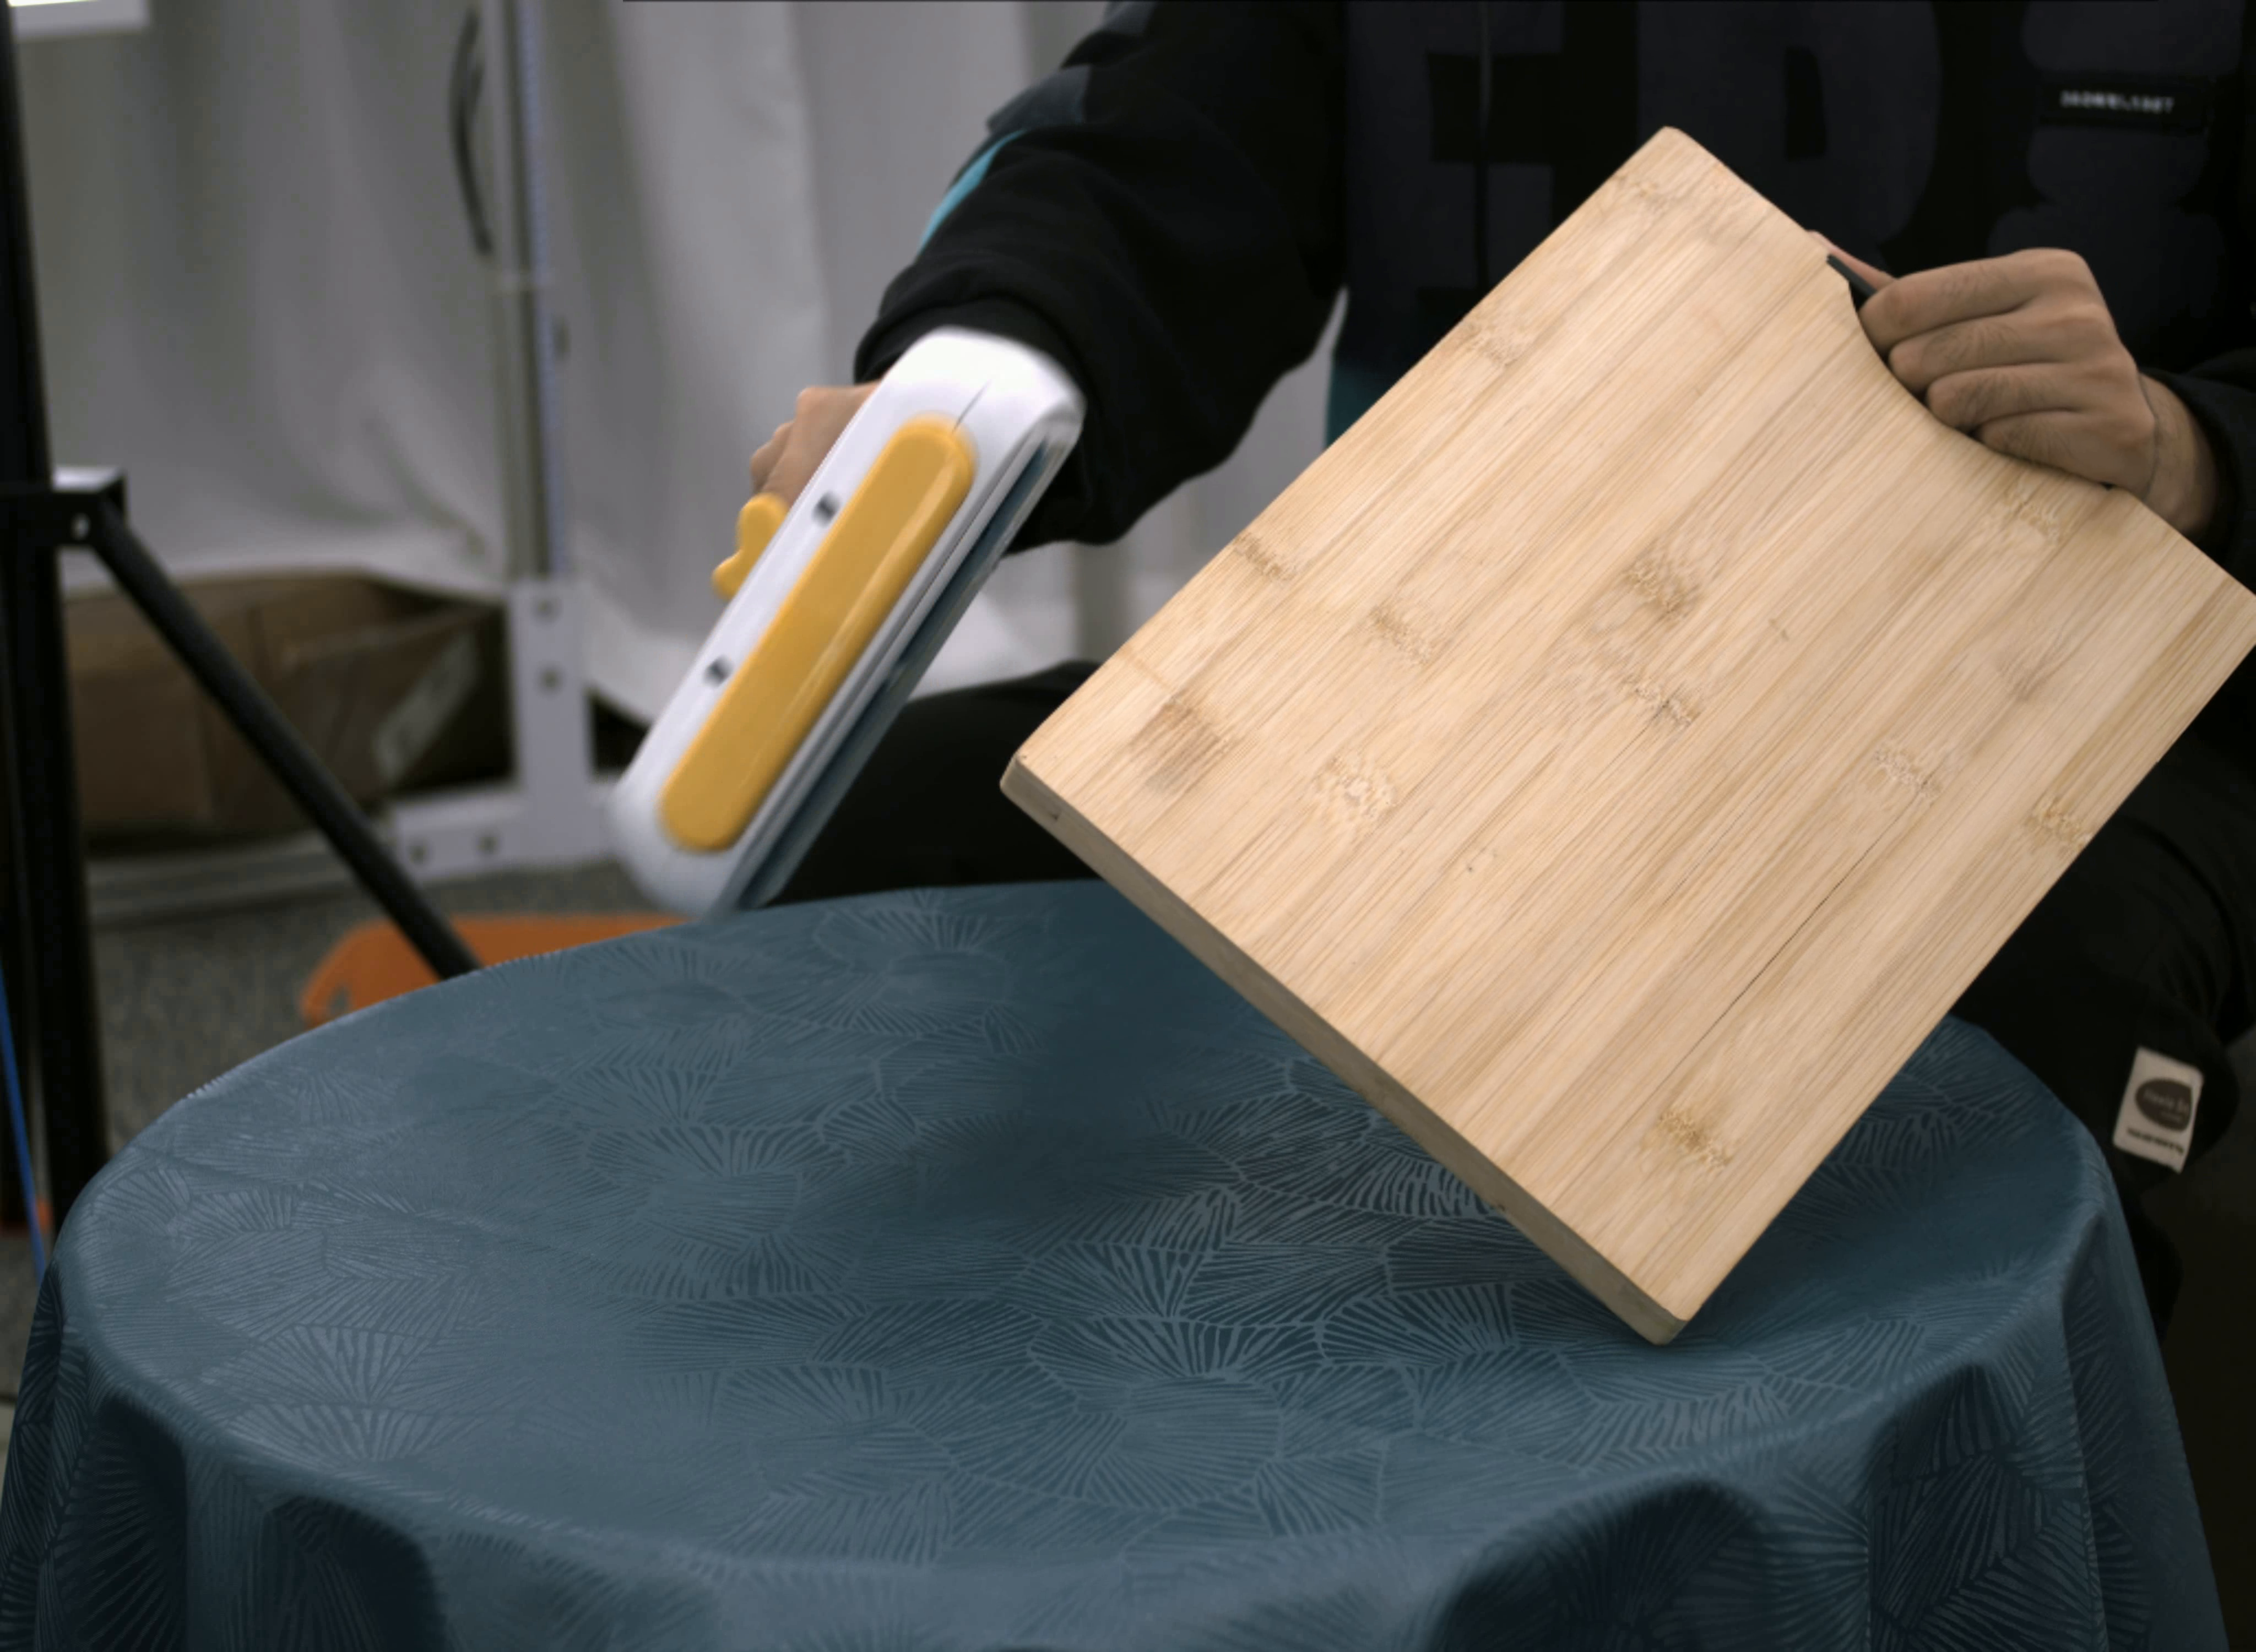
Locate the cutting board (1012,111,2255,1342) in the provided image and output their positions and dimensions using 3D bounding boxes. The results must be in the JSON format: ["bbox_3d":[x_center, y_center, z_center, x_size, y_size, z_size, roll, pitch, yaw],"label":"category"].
[{"bbox_3d":[0.159,-0.039,1.527,0.252,0.023,0.345,39,56,9],"label":"cutting board"}]

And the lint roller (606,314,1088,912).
[{"bbox_3d":[-0.080,-0.071,1.598,0.074,0.193,0.191,32,9,4],"label":"lint roller"}]
